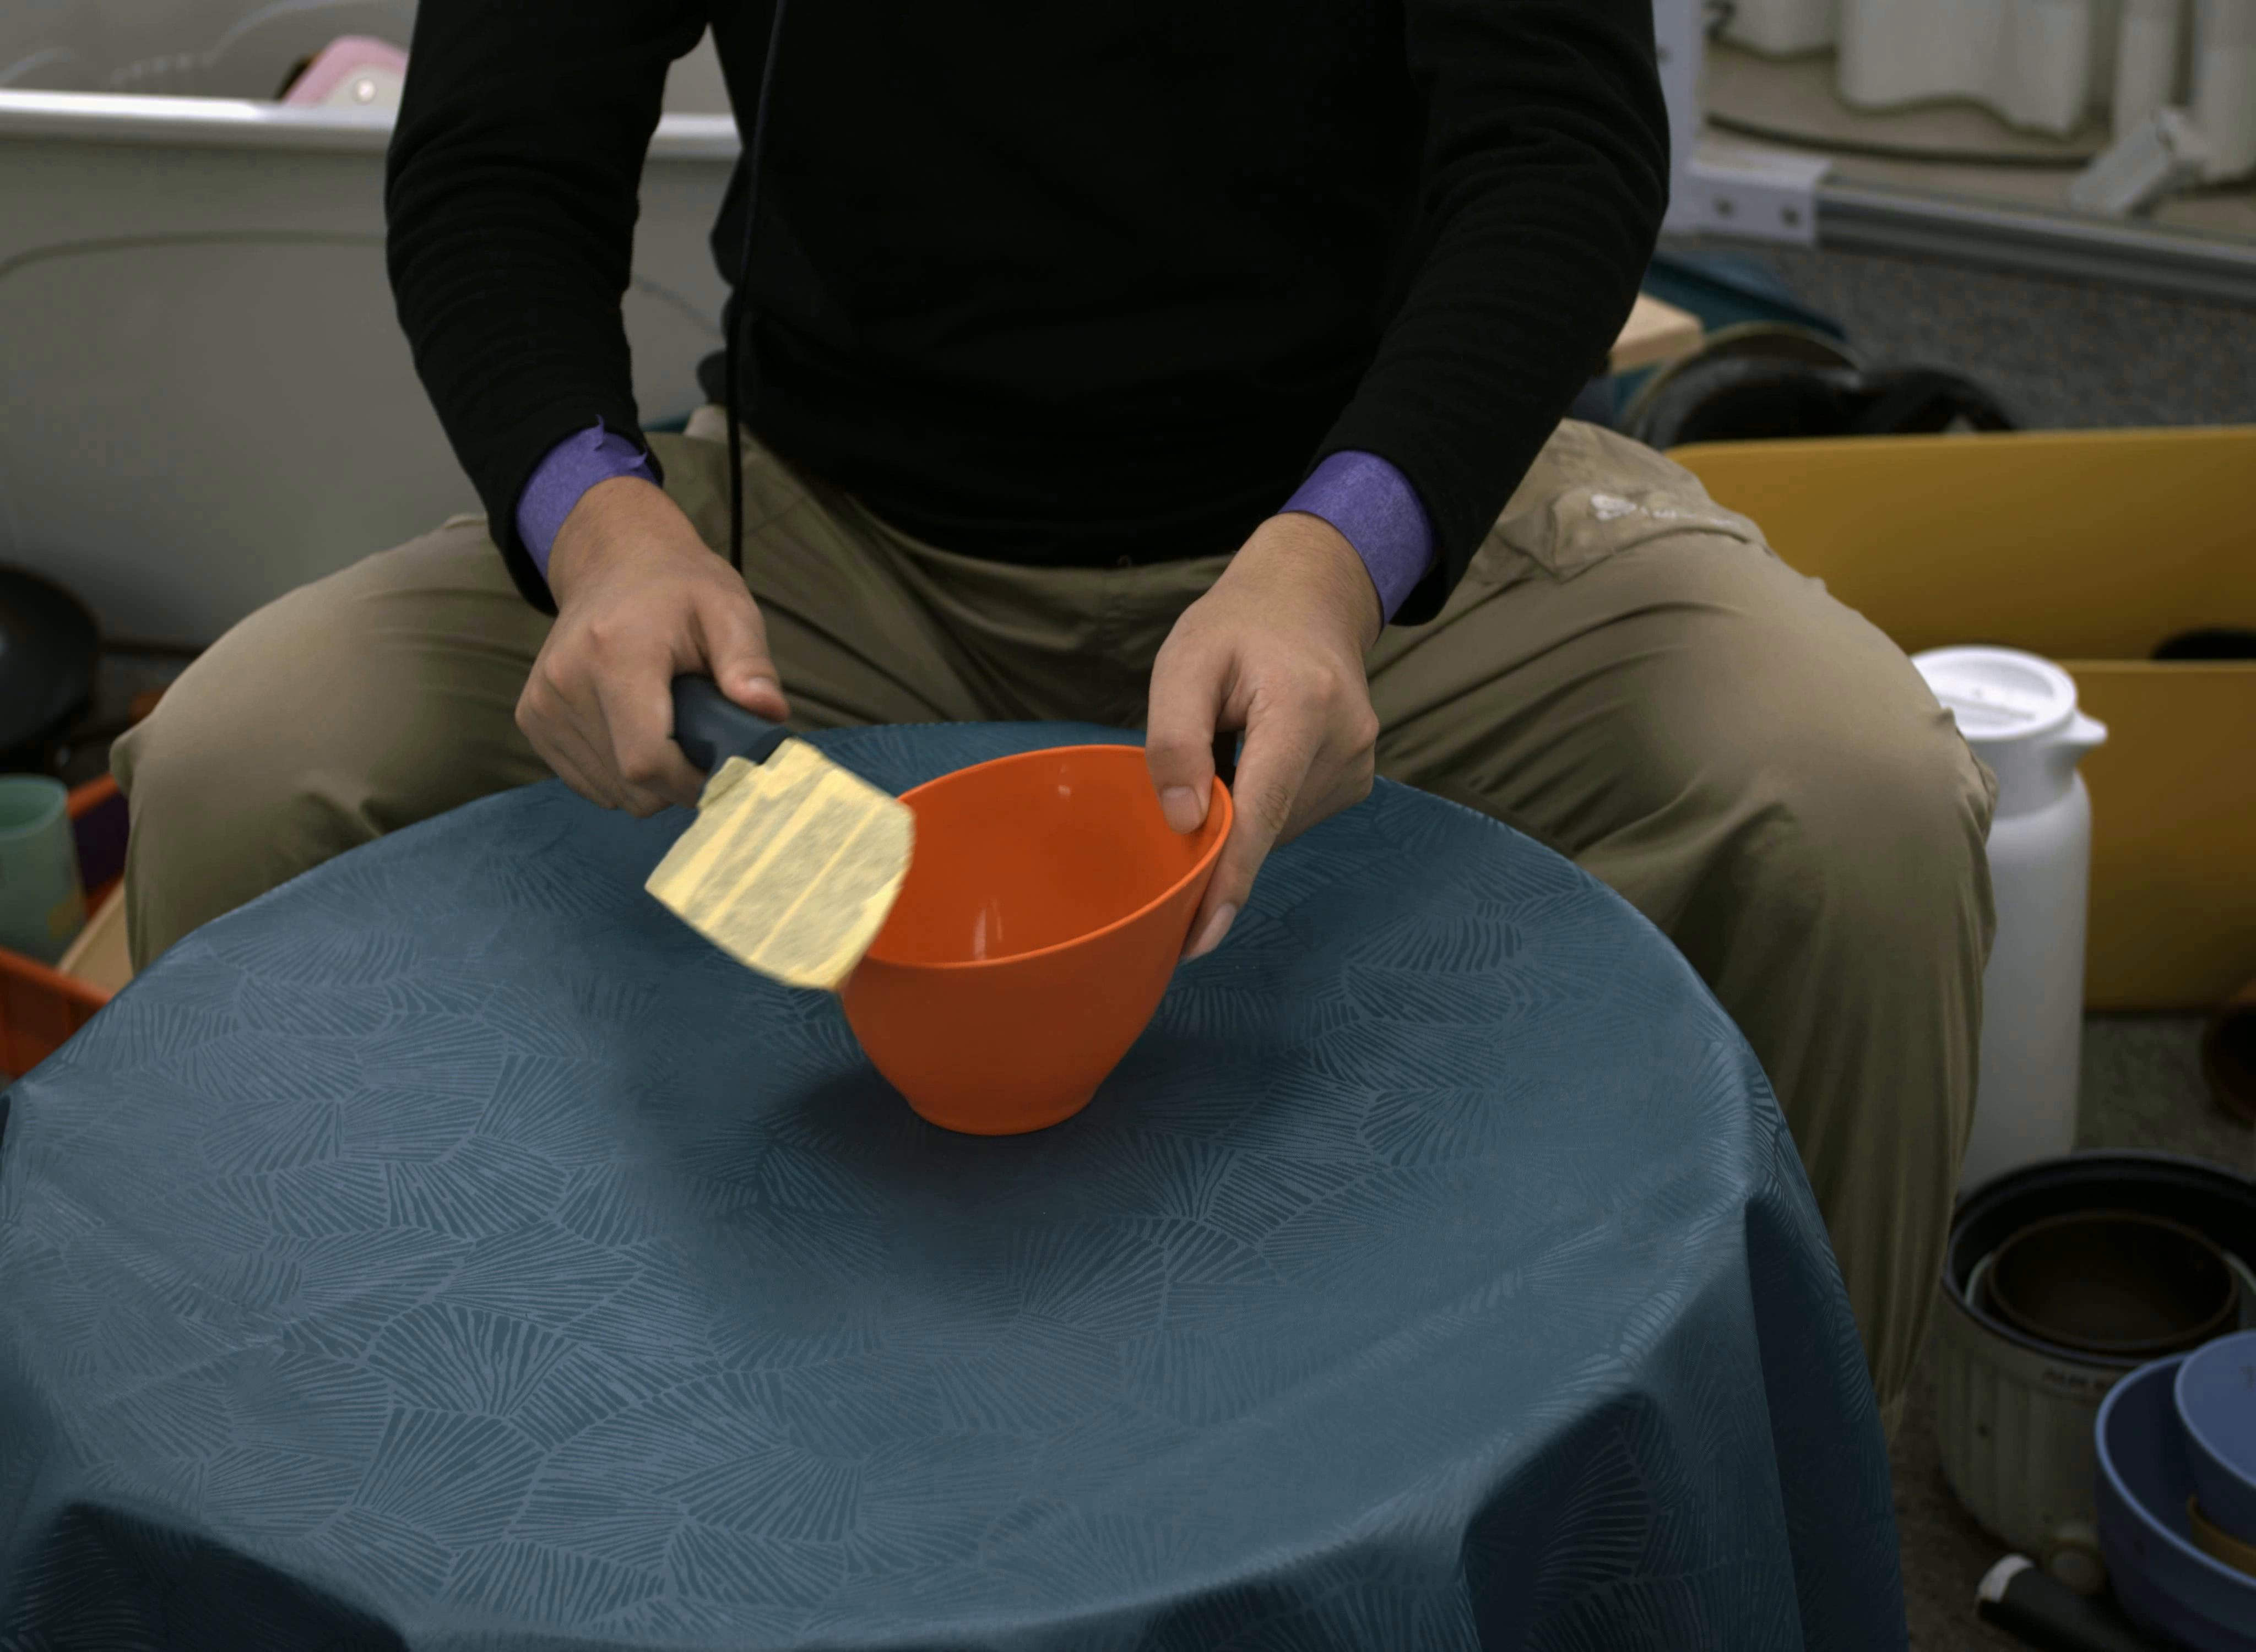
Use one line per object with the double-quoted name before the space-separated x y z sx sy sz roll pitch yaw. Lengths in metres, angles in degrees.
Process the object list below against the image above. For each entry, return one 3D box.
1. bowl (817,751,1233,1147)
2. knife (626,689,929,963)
"bowl" -0.034 0.047 1.901 0.147 0.103 0.150 -4 27 3
"knife" -0.129 -0.002 1.923 0.081 0.027 0.290 -46 24 -5
